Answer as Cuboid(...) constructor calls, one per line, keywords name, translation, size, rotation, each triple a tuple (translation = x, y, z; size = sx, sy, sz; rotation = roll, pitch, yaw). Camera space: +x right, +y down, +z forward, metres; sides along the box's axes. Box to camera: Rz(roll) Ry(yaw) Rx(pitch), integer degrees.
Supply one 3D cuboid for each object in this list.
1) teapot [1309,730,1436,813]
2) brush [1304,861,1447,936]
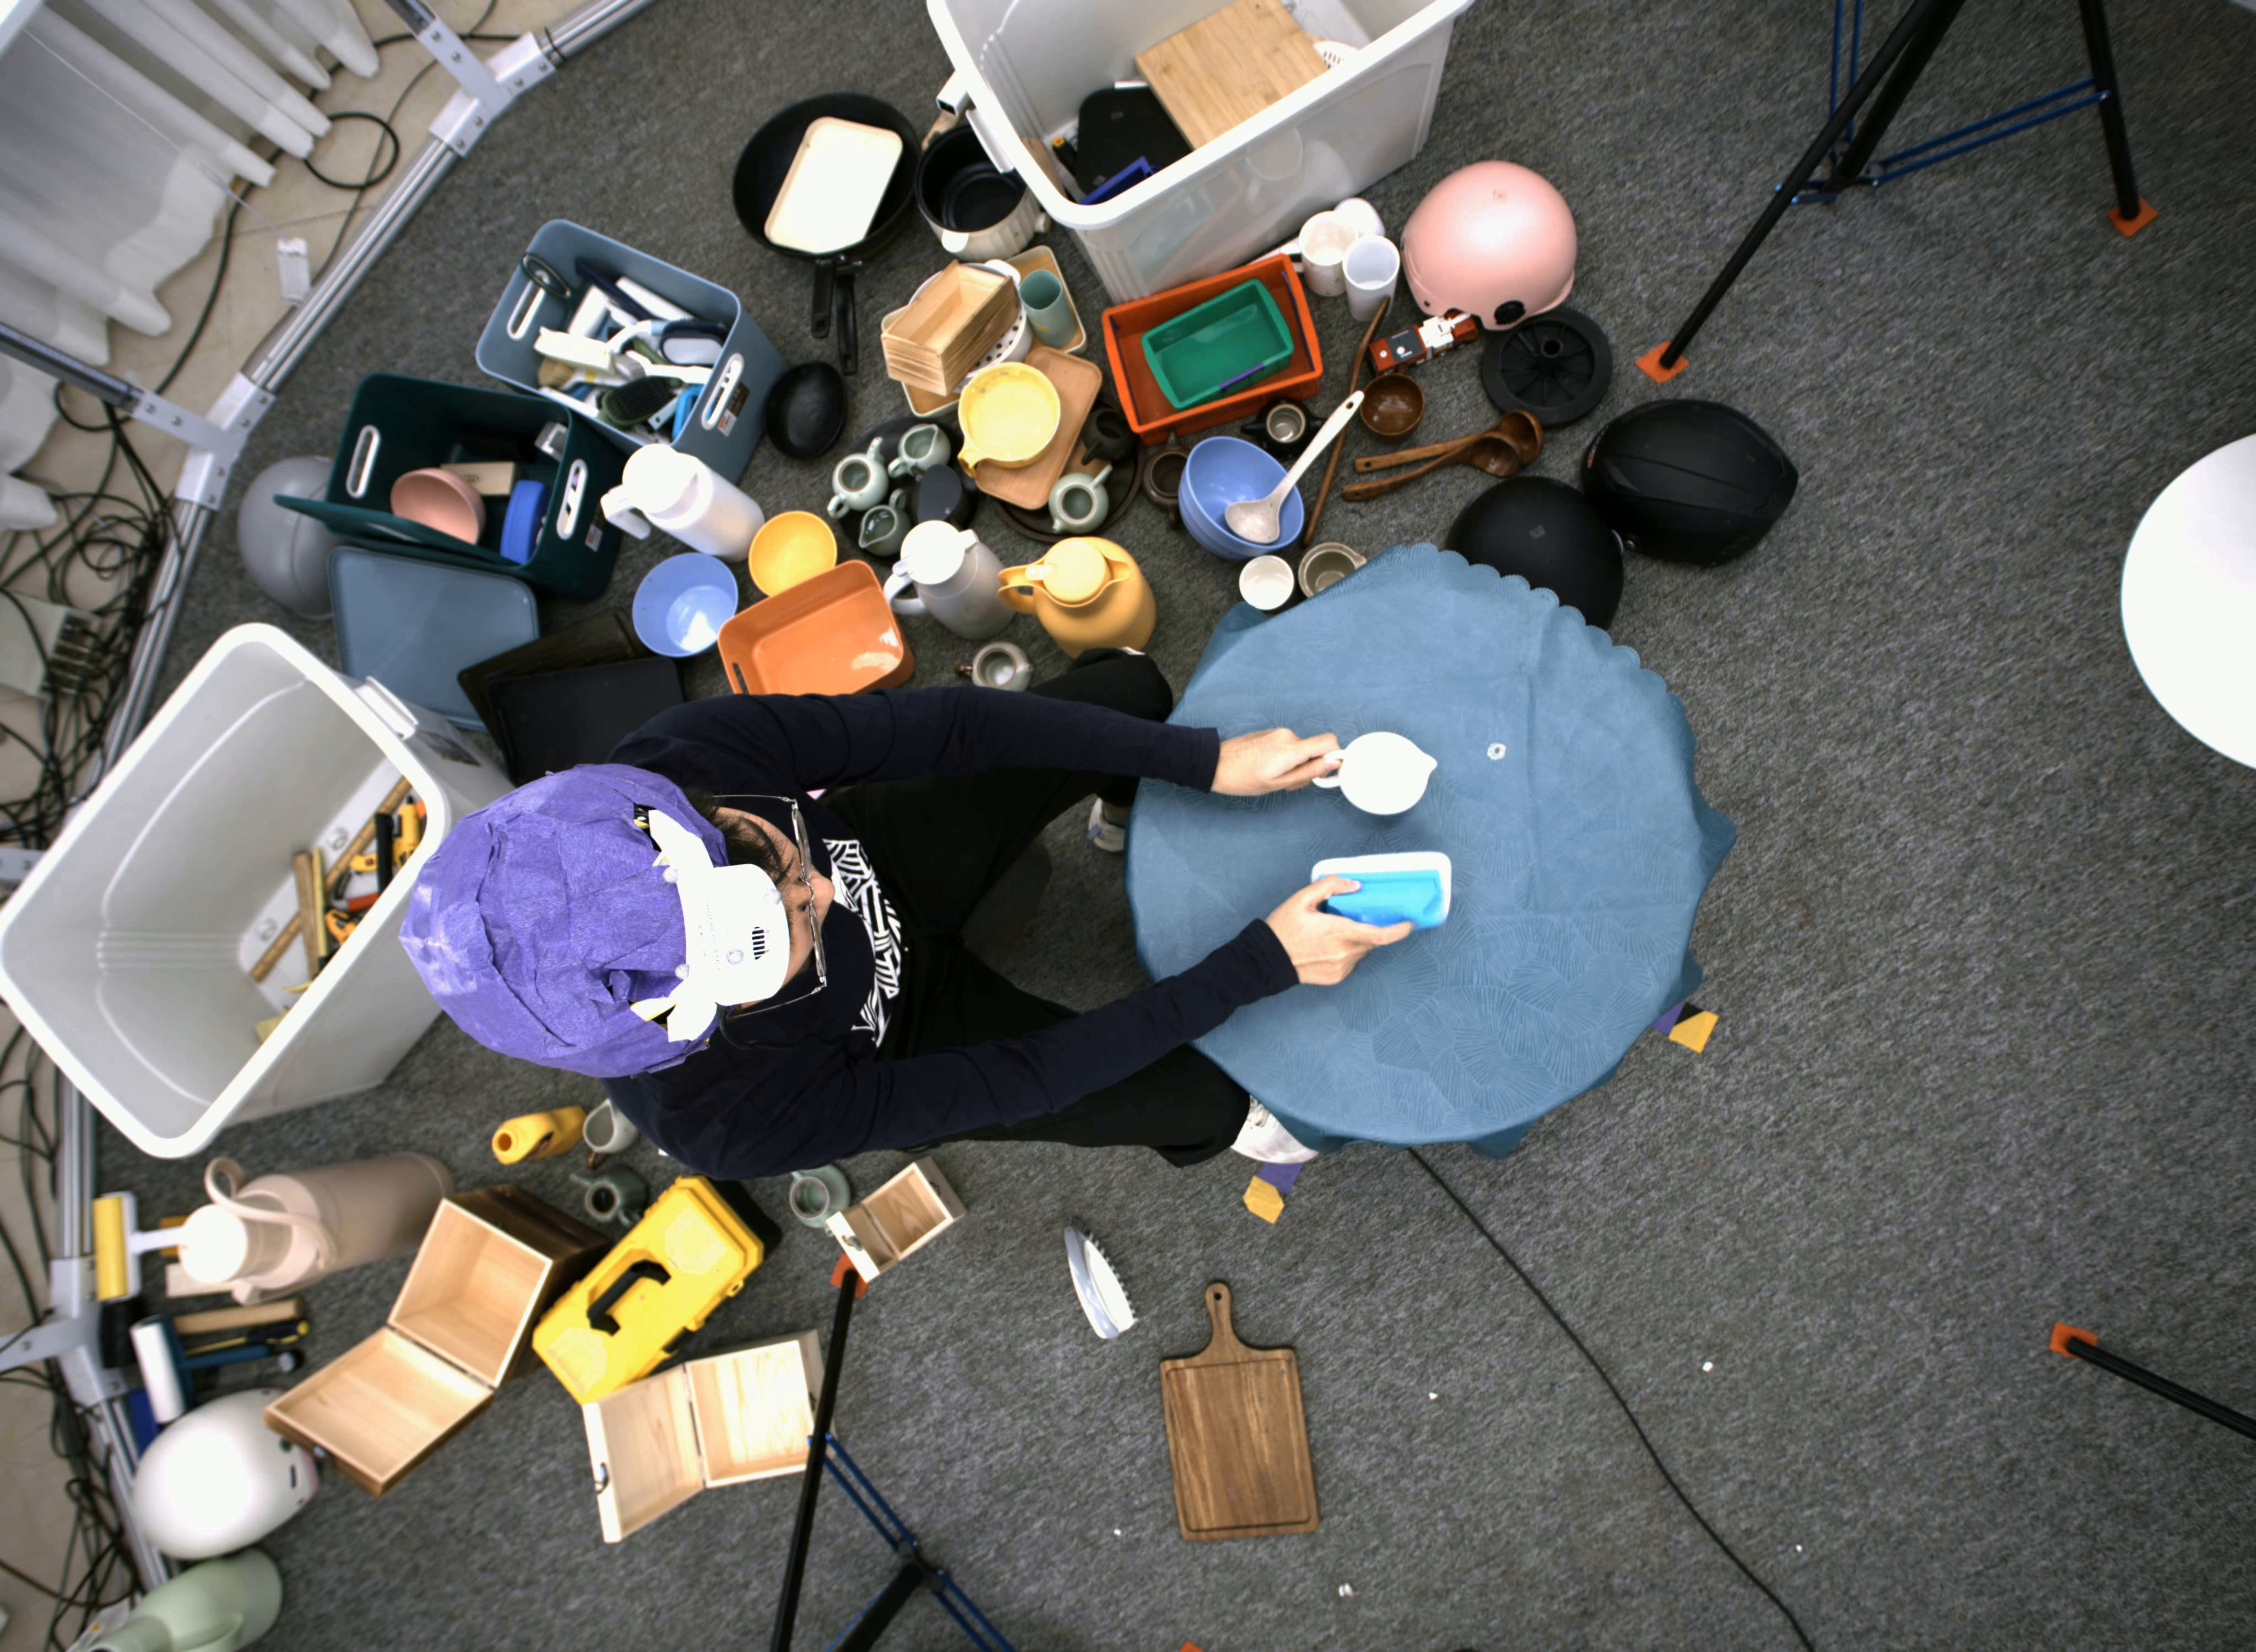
Cuboid(name="teapot", translation=(0.251, -0.057, 1.422), size=(0.127, 0.058, 0.091), rotation=(0, 56, 1))
Cuboid(name="brush", translation=(0.251, 0.080, 1.390), size=(0.144, 0.054, 0.085), rotation=(0, 117, 2))
